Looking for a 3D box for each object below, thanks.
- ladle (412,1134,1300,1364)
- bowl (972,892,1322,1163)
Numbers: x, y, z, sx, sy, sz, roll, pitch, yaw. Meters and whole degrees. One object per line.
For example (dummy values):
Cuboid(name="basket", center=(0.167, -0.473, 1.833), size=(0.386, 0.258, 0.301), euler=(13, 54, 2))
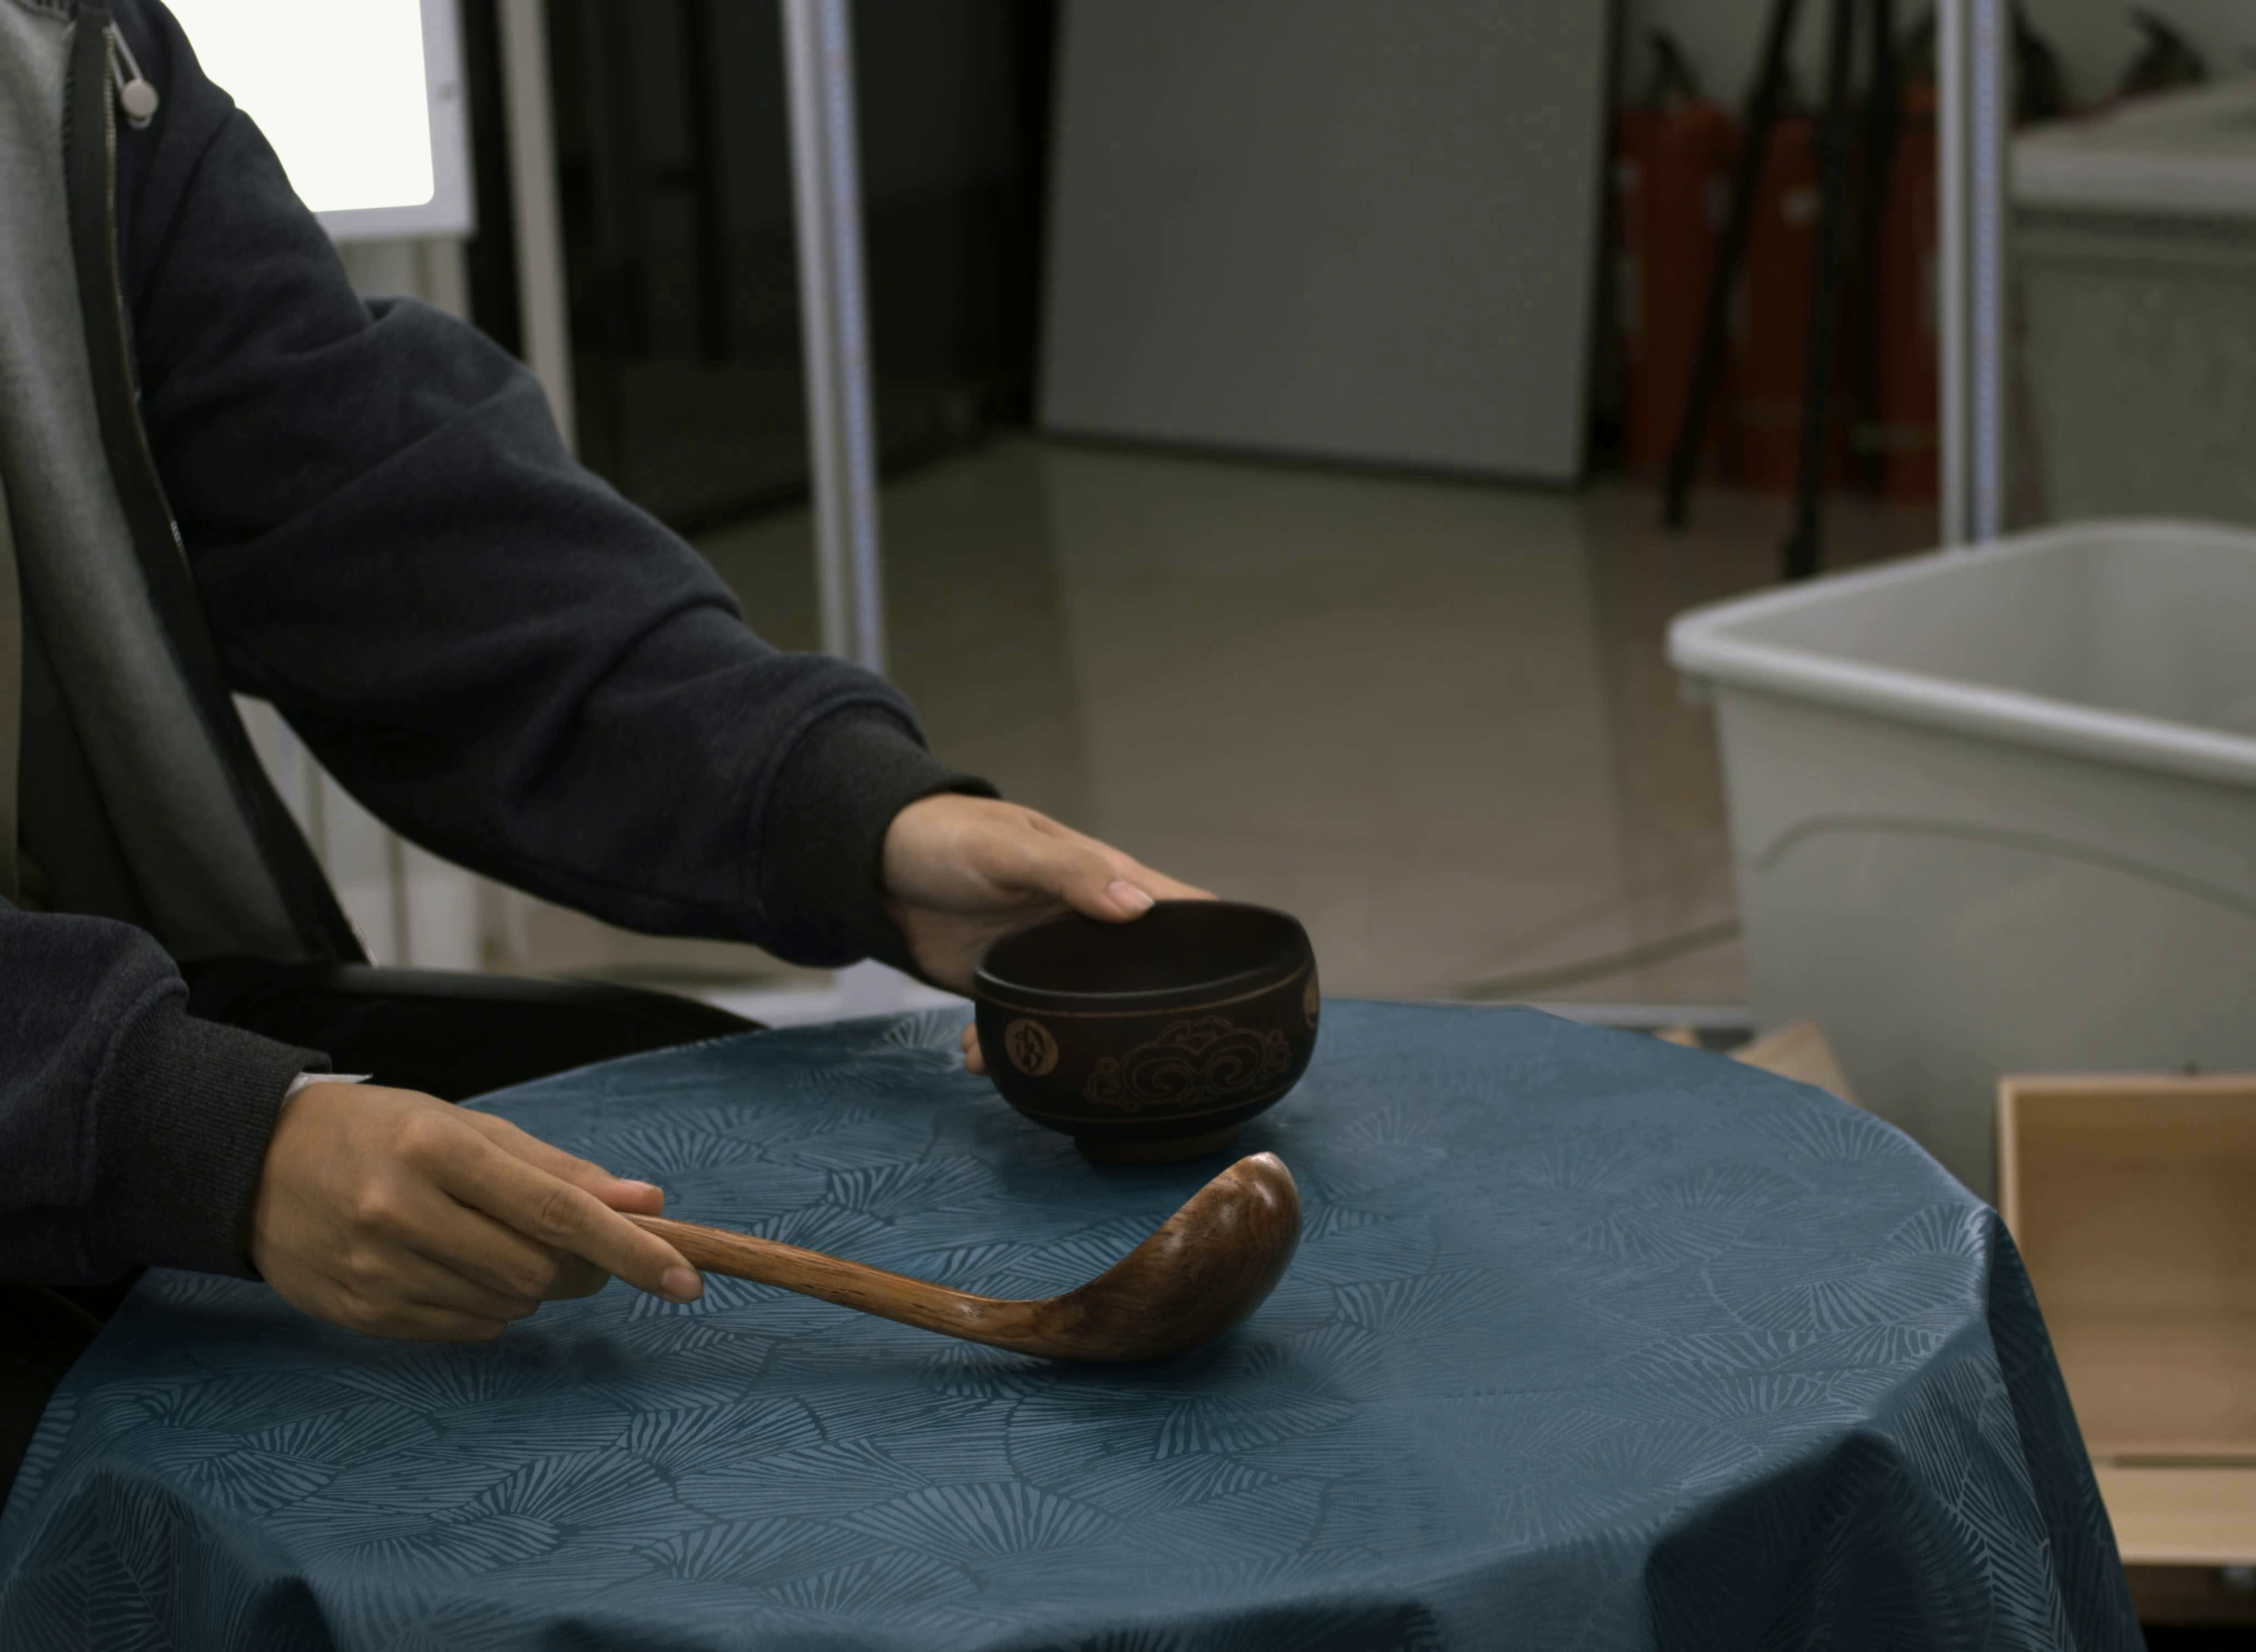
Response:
Cuboid(name="ladle", center=(-0.083, 0.109, 1.625), size=(0.273, 0.077, 0.081), euler=(10, -11, 16))
Cuboid(name="bowl", center=(0.008, 0.071, 1.810), size=(0.116, 0.070, 0.118), euler=(-6, 14, 1))
